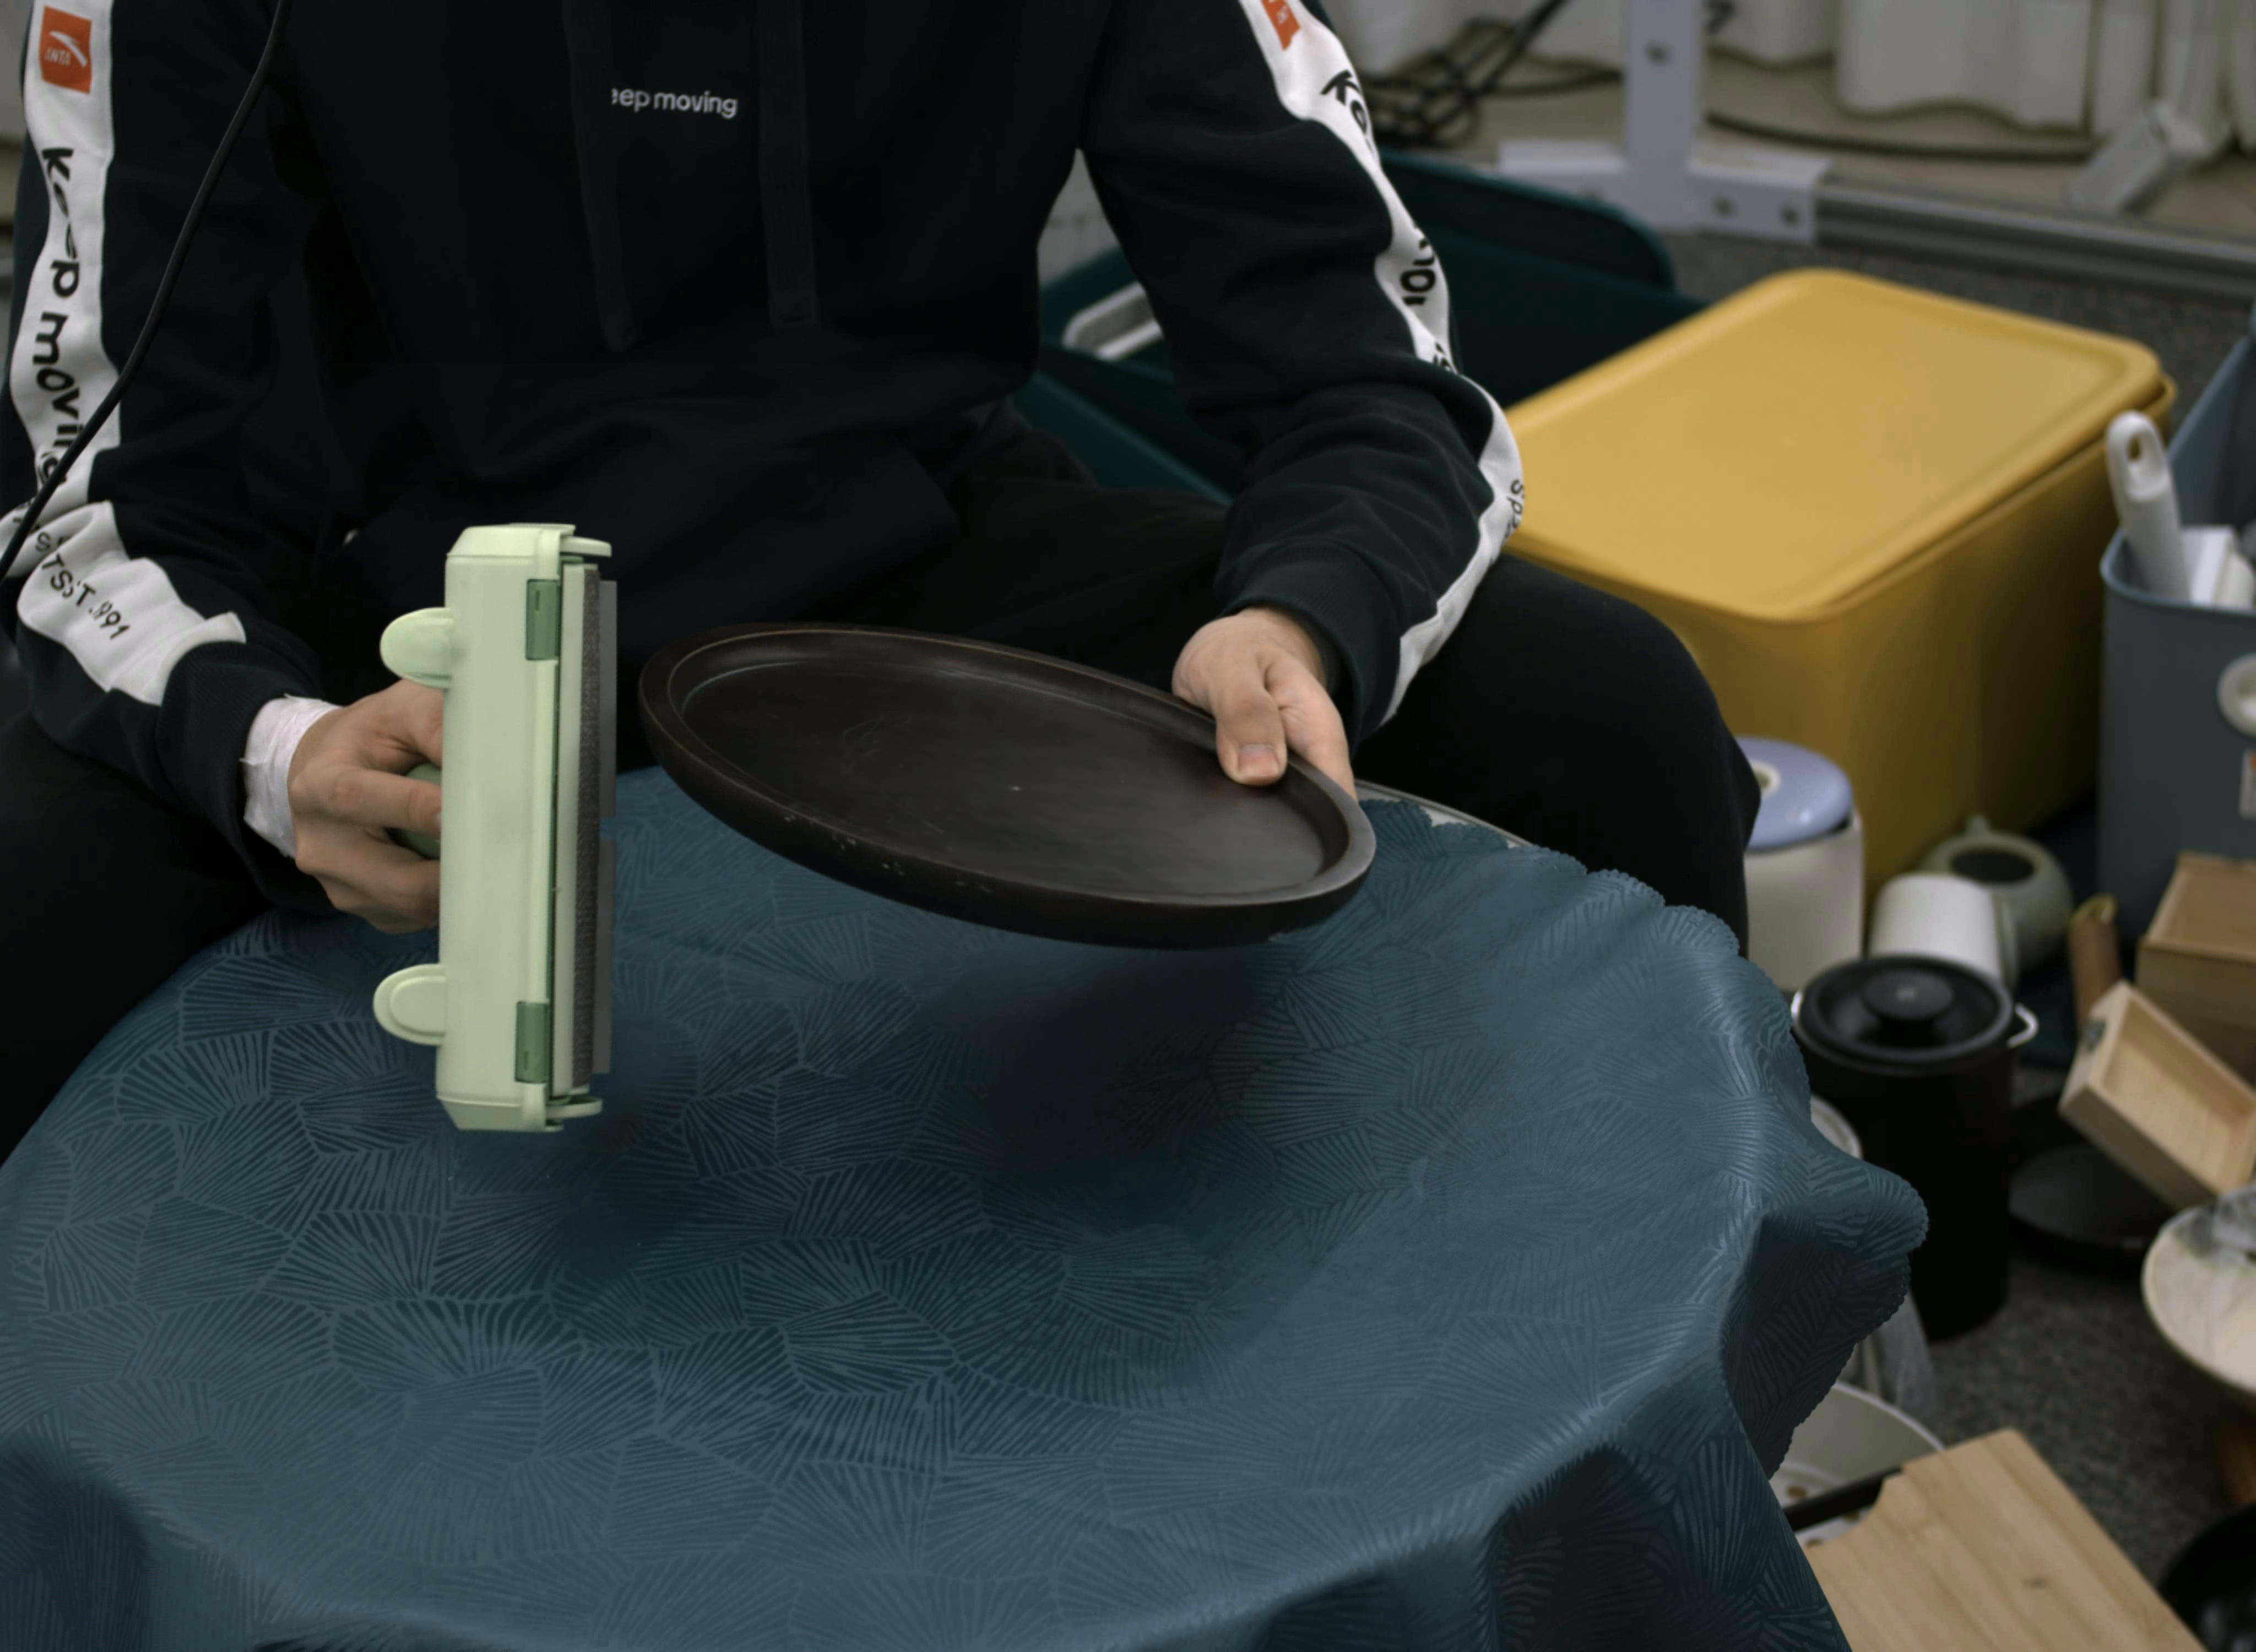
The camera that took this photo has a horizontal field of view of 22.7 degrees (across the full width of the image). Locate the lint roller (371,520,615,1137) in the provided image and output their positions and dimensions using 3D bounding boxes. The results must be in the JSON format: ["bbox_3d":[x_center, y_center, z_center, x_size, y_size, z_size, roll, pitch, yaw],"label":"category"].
[{"bbox_3d":[-0.232,-0.001,1.866,0.082,0.199,0.182,1,1,-33],"label":"lint roller"}]

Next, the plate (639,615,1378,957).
[{"bbox_3d":[-0.040,-0.014,1.869,0.254,0.029,0.257,12,19,-4],"label":"plate"}]
